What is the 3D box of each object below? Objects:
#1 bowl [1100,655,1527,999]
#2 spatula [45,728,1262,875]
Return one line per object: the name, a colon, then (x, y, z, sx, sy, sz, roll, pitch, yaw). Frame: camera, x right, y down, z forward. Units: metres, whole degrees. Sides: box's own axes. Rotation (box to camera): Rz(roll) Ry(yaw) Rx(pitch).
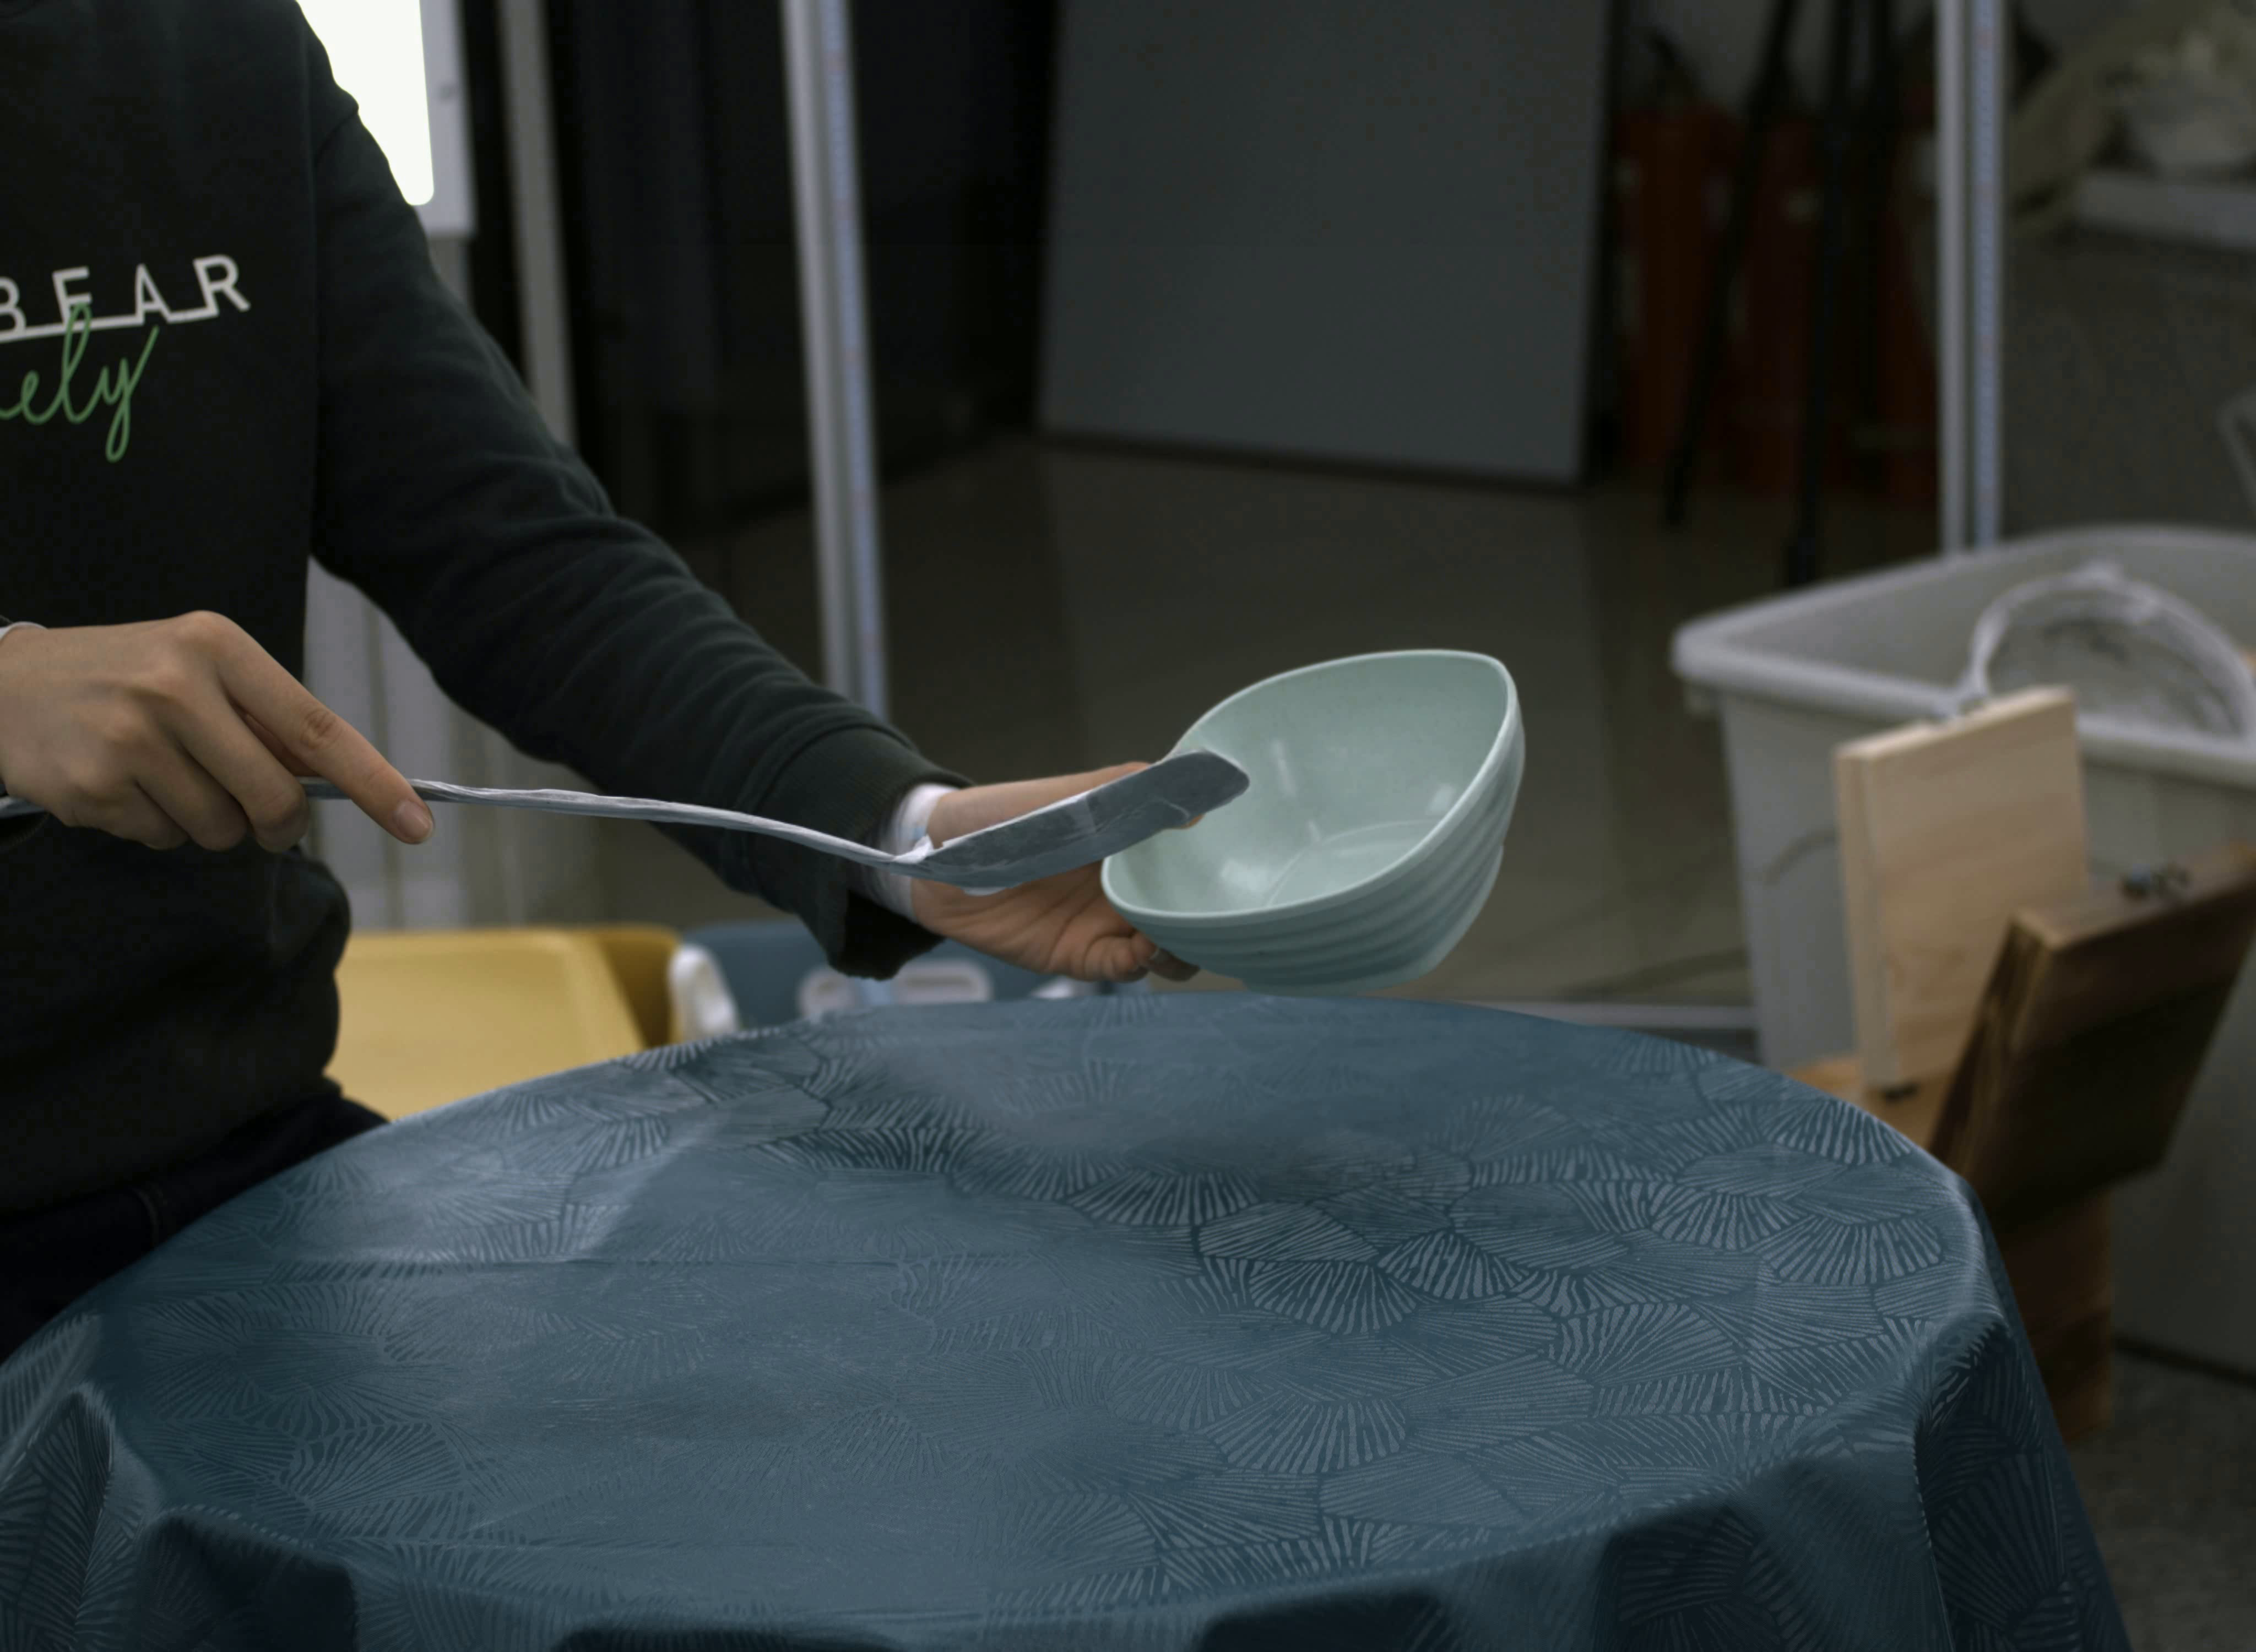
bowl: (0.069, 0.008, 1.748, 0.151, 0.058, 0.152, -20, 27, 10)
spatula: (-0.142, -0.011, 1.578, 0.361, 0.045, 0.098, 3, -6, 8)
